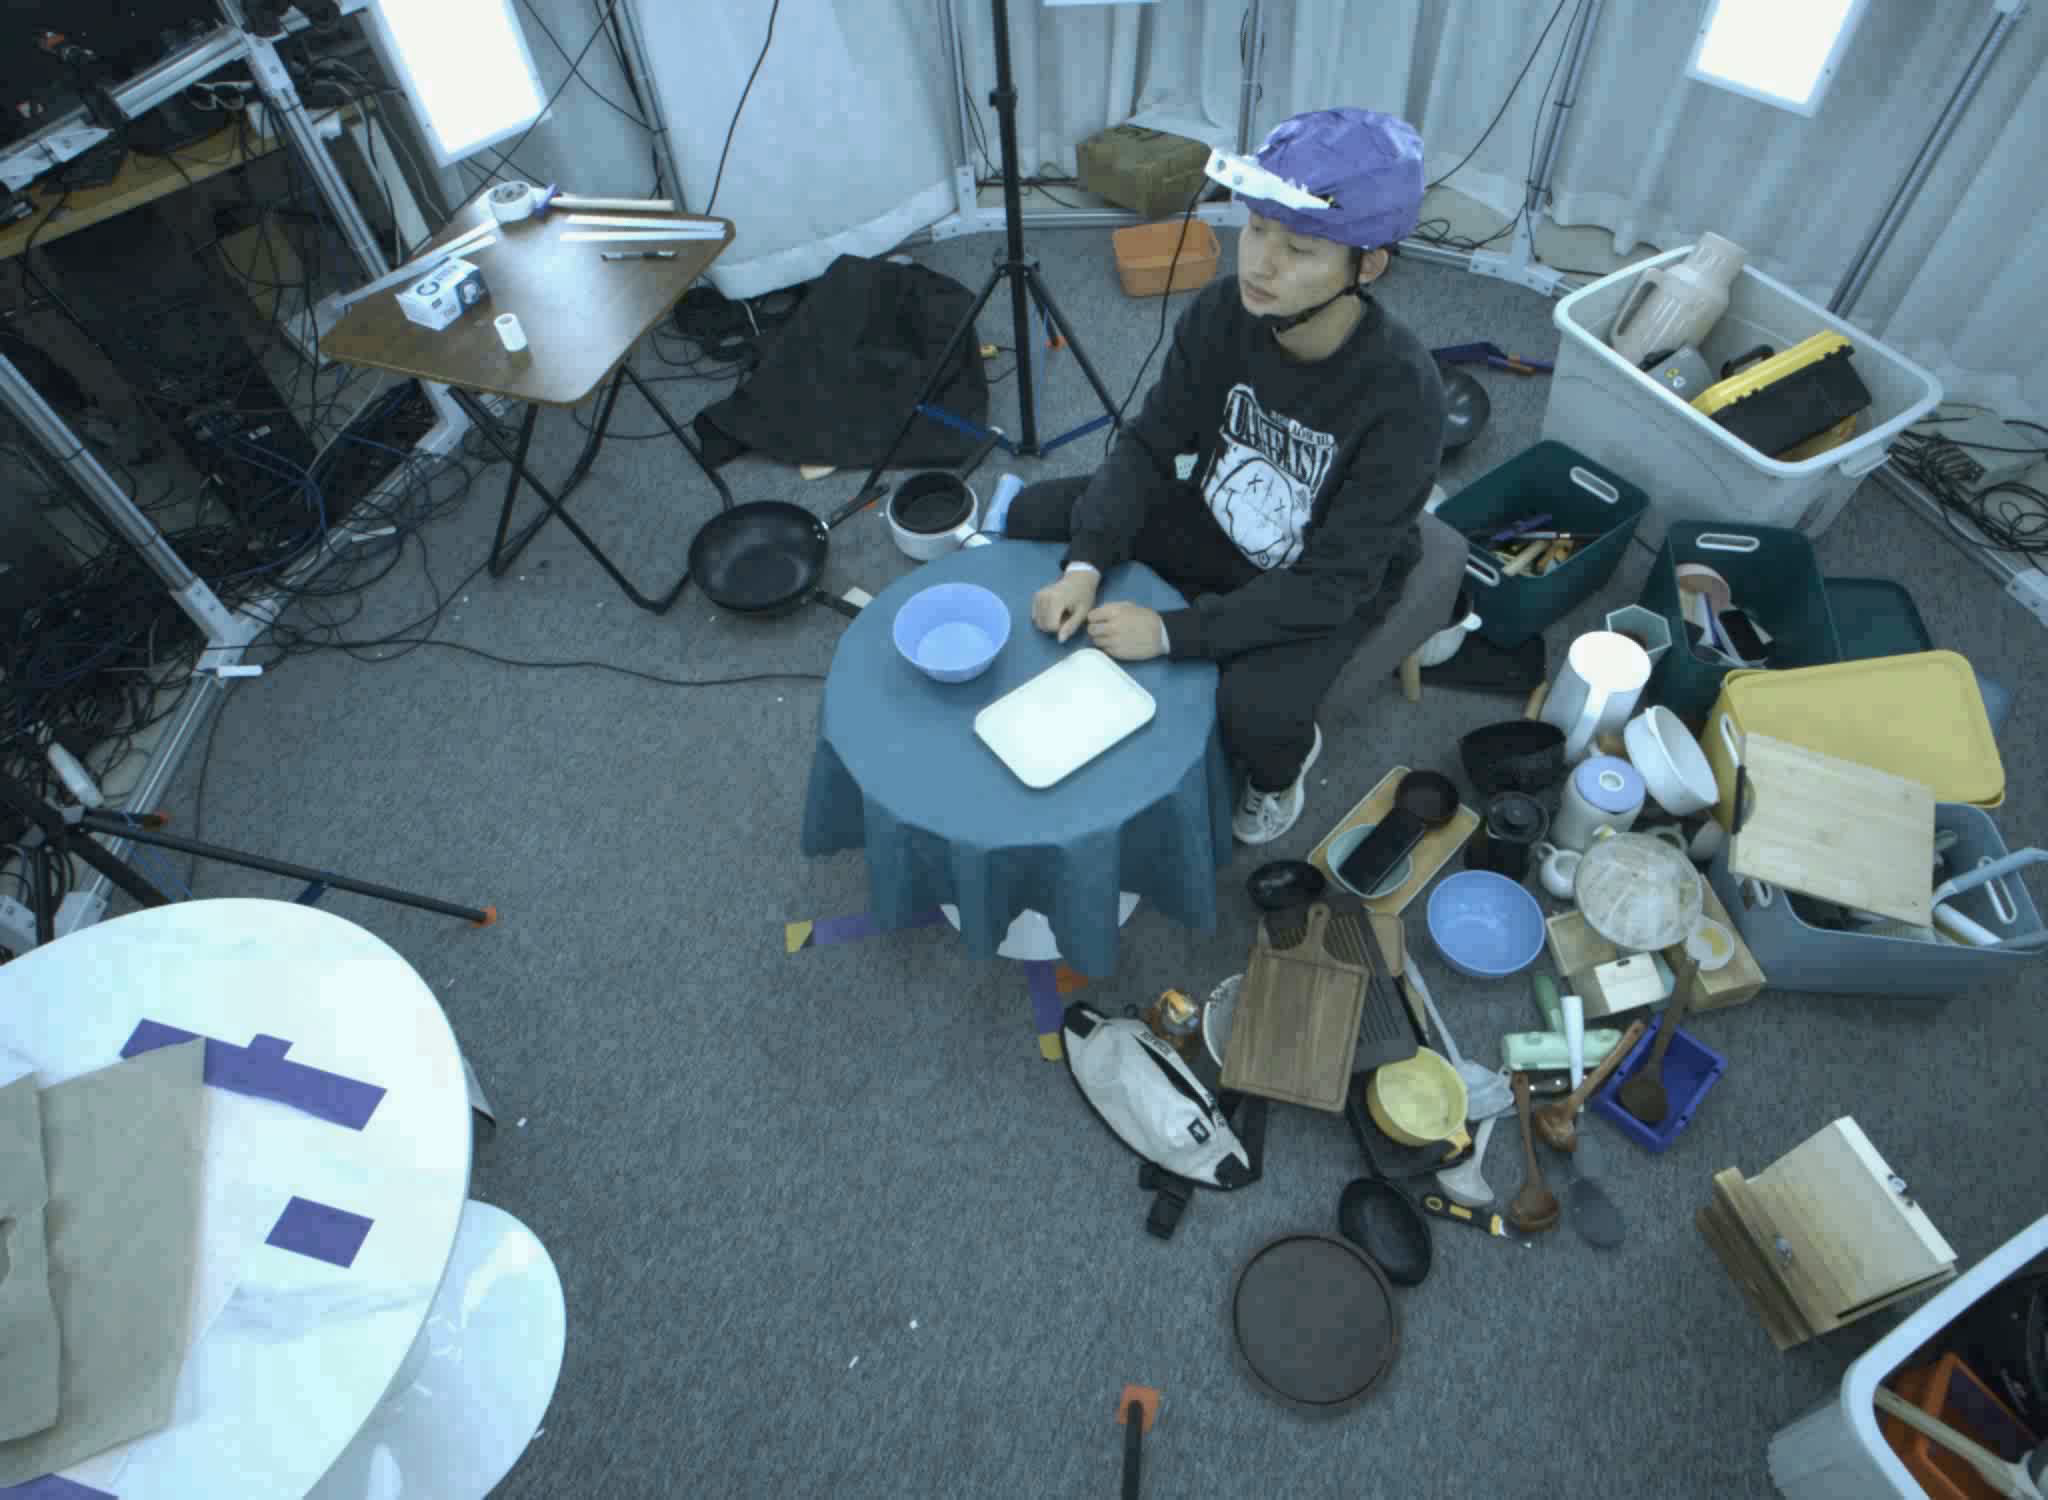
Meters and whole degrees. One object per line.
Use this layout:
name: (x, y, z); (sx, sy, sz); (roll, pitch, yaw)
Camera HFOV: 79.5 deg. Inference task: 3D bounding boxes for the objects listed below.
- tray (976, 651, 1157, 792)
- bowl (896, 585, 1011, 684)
tray: (0.063, -0.043, 1.816); (0.241, 0.017, 0.168); (-33, 61, -20)
bowl: (-0.105, -0.166, 1.874); (0.176, 0.071, 0.174); (-1, 56, 2)
